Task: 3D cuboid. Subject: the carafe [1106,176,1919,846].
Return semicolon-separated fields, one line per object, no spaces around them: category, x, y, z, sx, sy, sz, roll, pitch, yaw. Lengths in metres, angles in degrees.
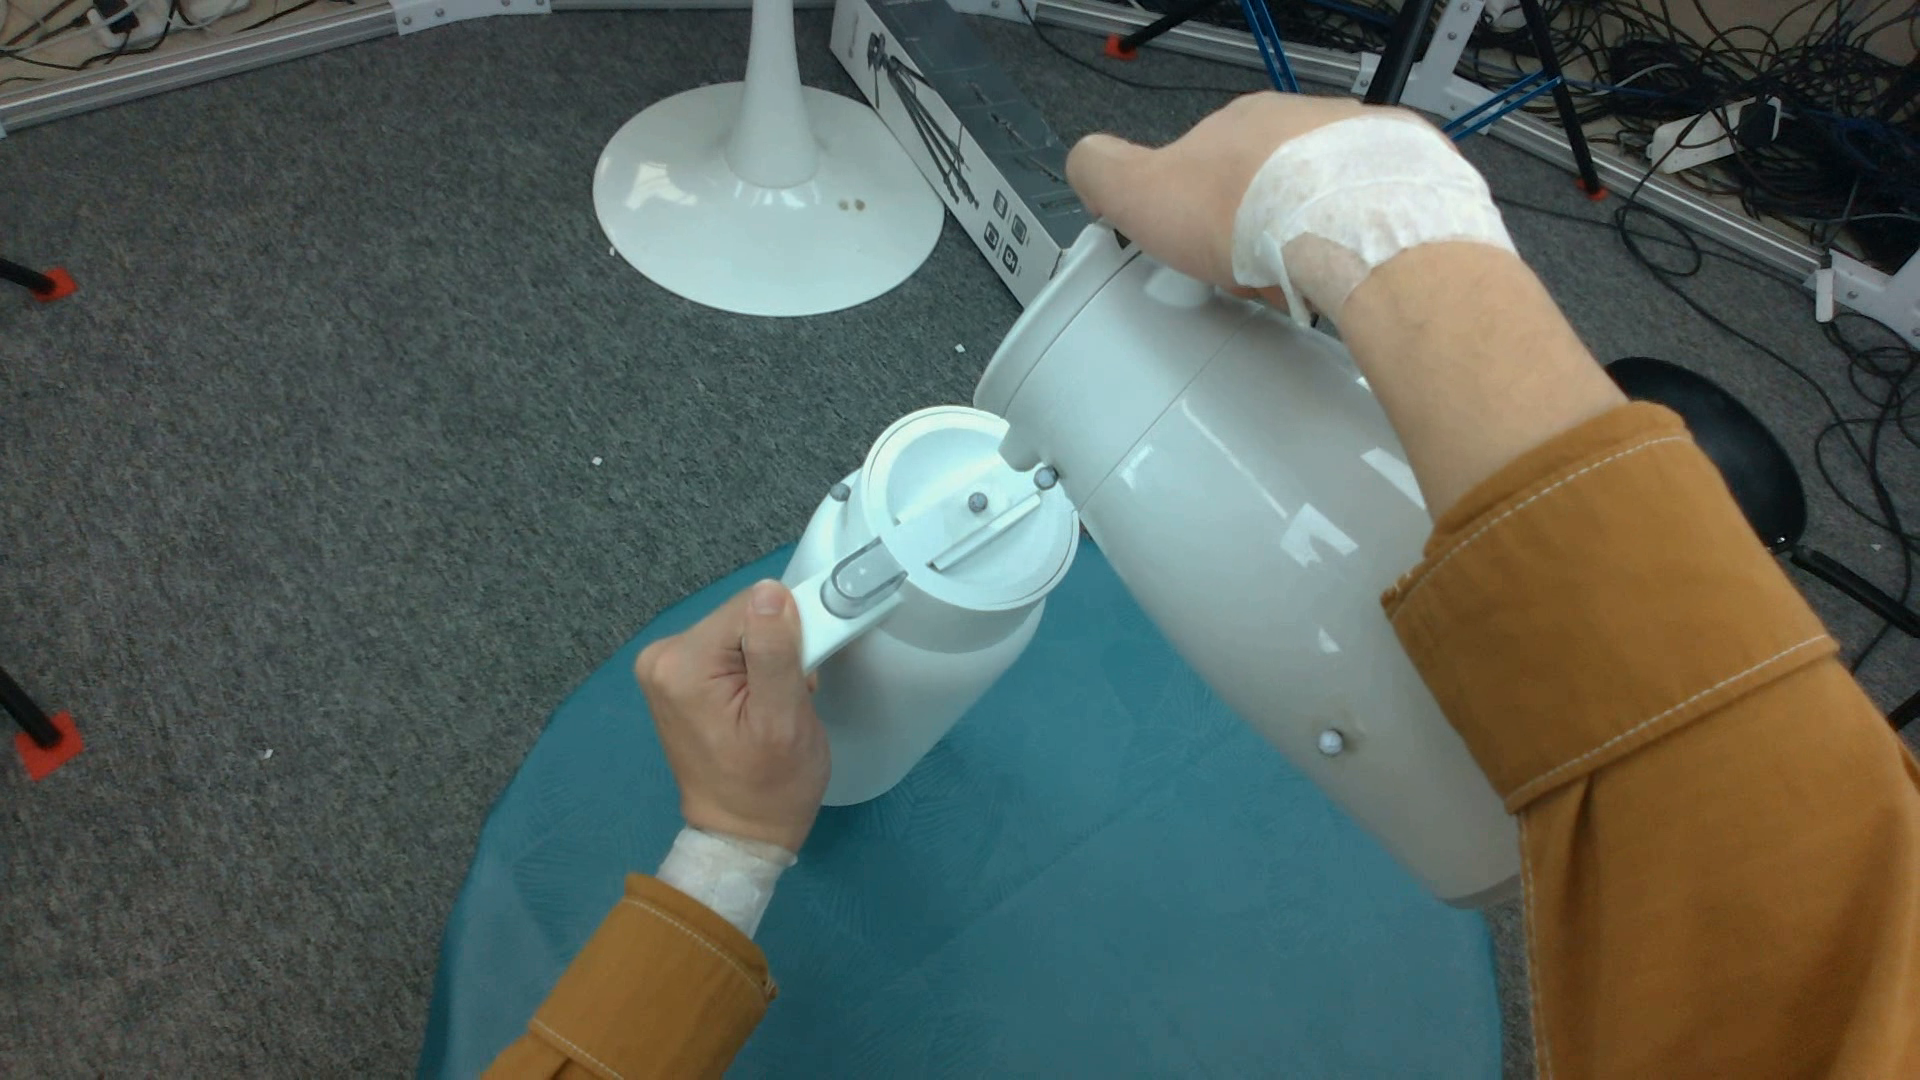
carafe;0.180;-0.029;0.466;0.248;0.167;0.133;31;45;11

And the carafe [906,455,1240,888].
carafe;0.042;0.086;0.675;0.124;0.267;0.173;40;60;14
